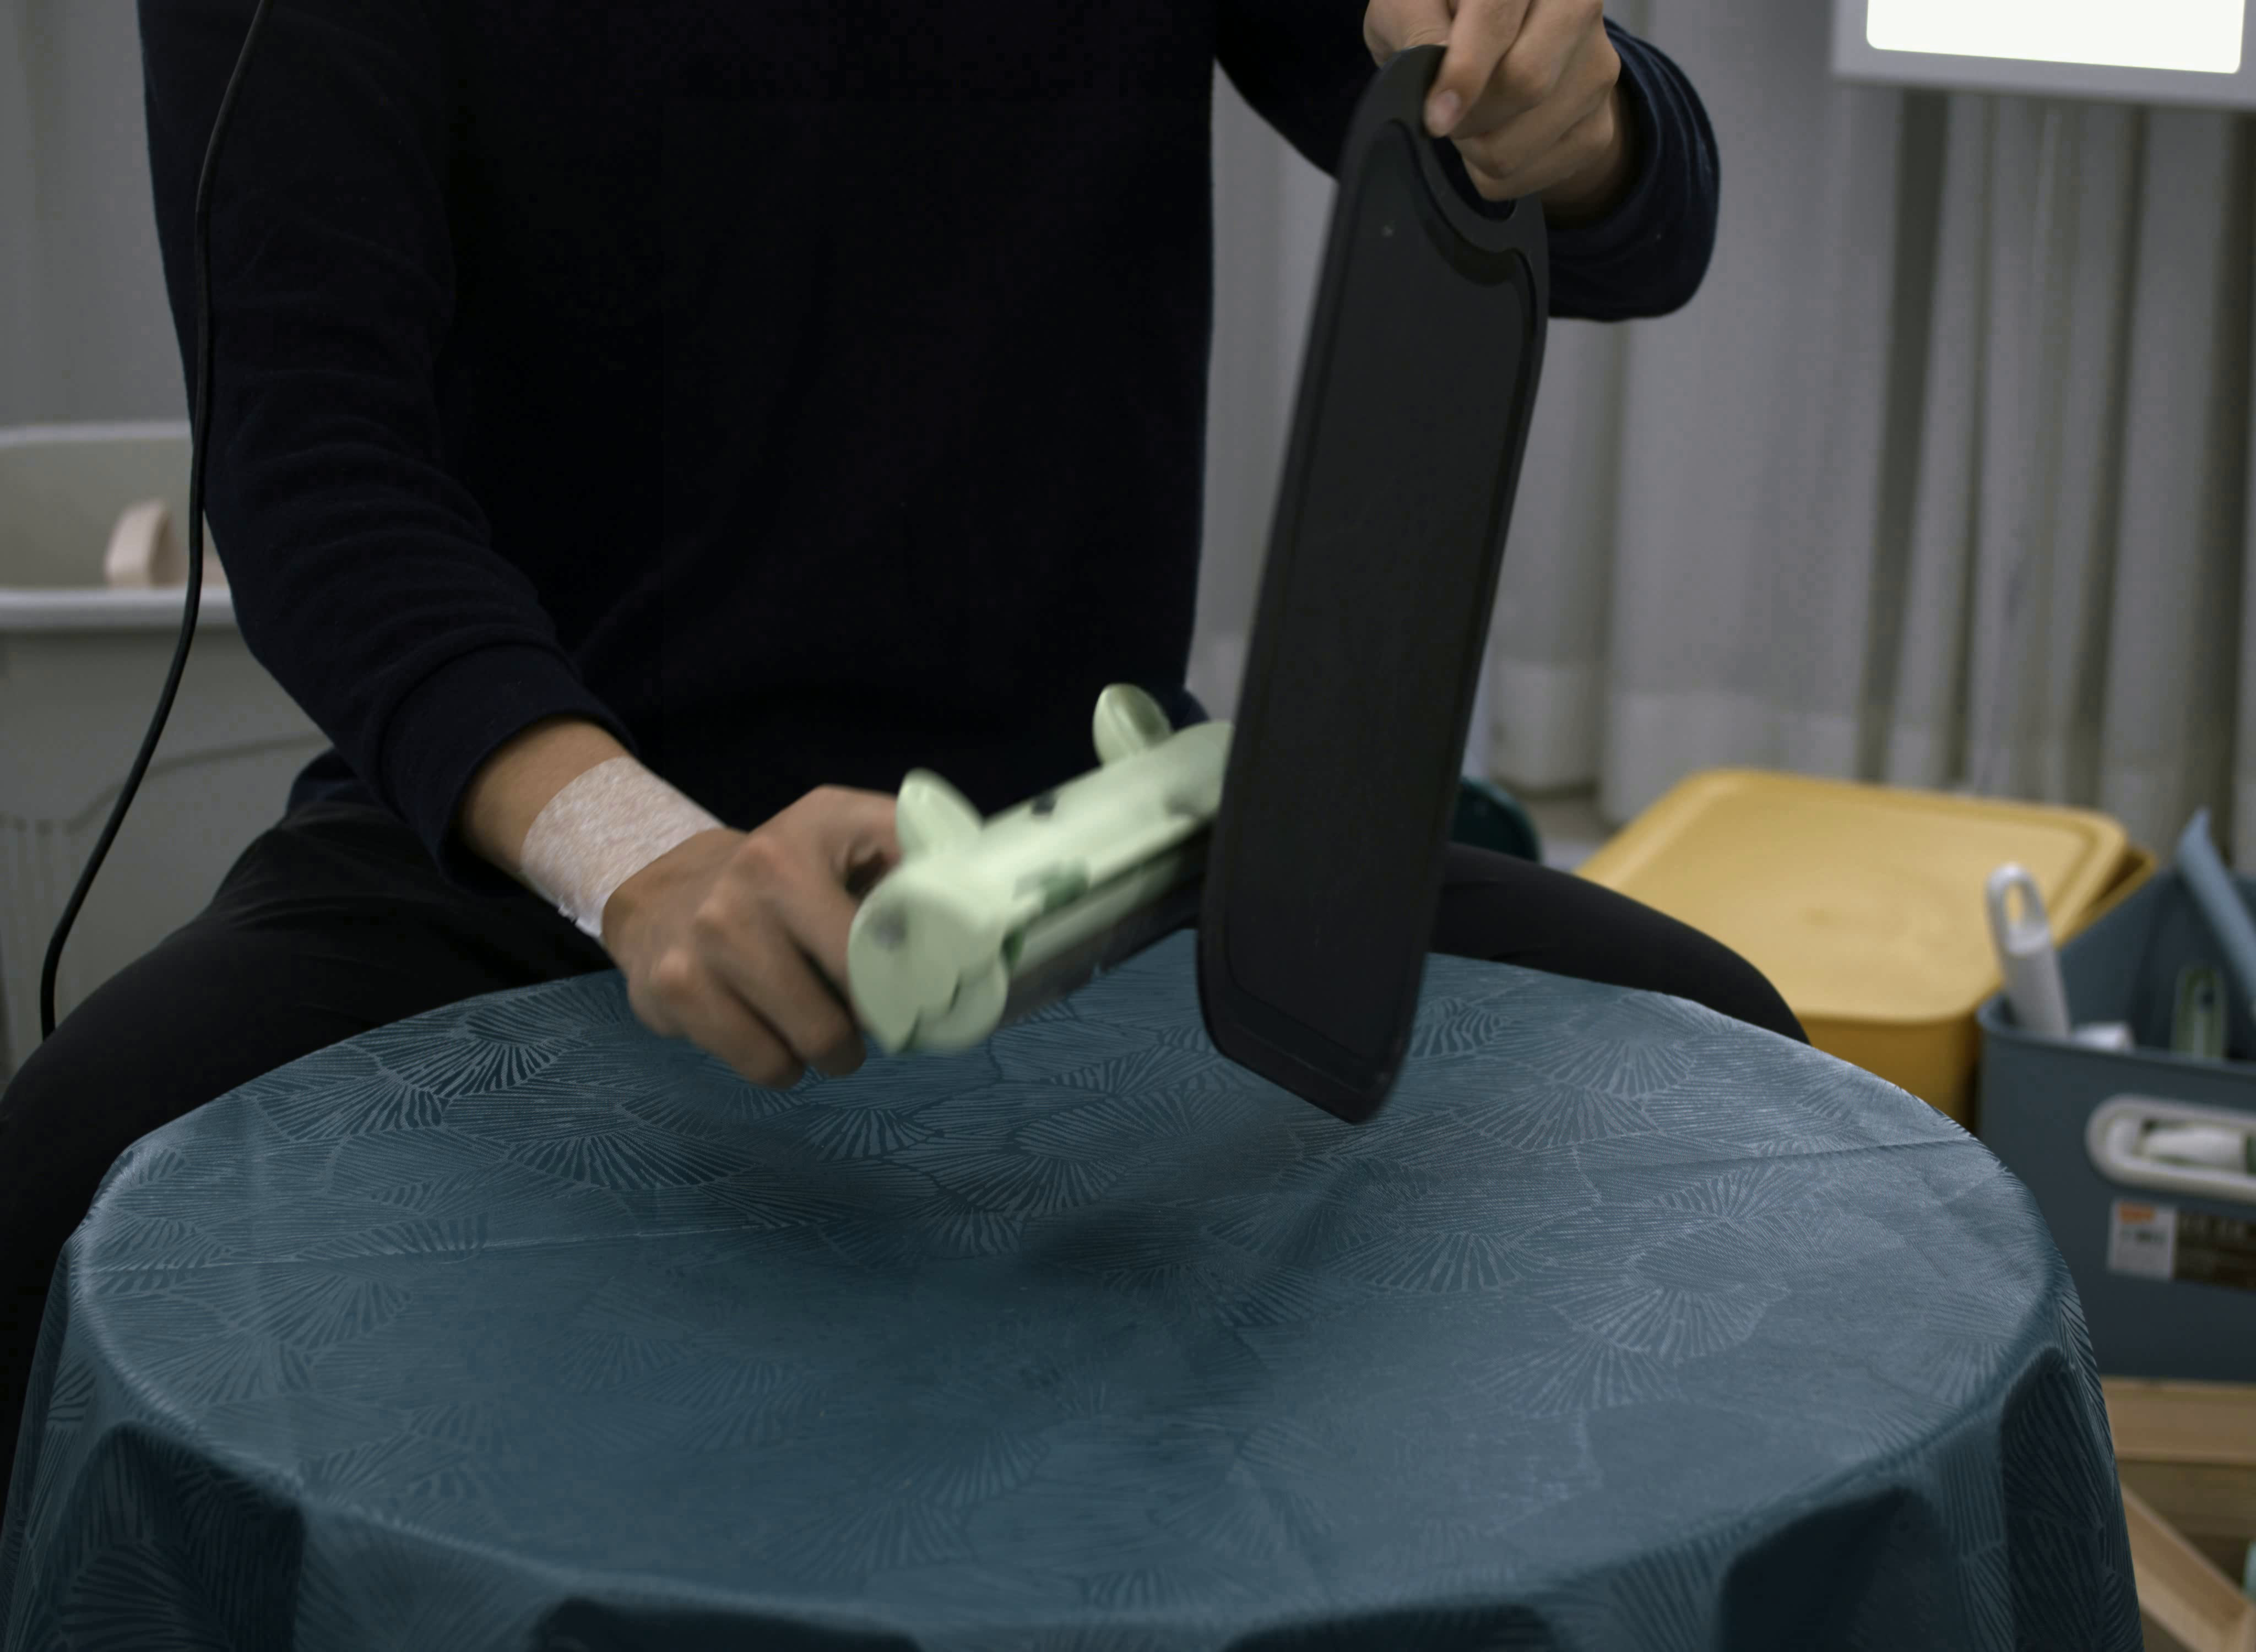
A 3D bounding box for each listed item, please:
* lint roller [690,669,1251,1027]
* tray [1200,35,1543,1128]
[{"bbox_3d":[-0.061,0.010,1.560,0.181,0.082,0.199,-9,7,30],"label":"lint roller"},{"bbox_3d":[0.080,-0.078,1.612,0.009,0.325,0.213,7,-10,22],"label":"tray"}]
